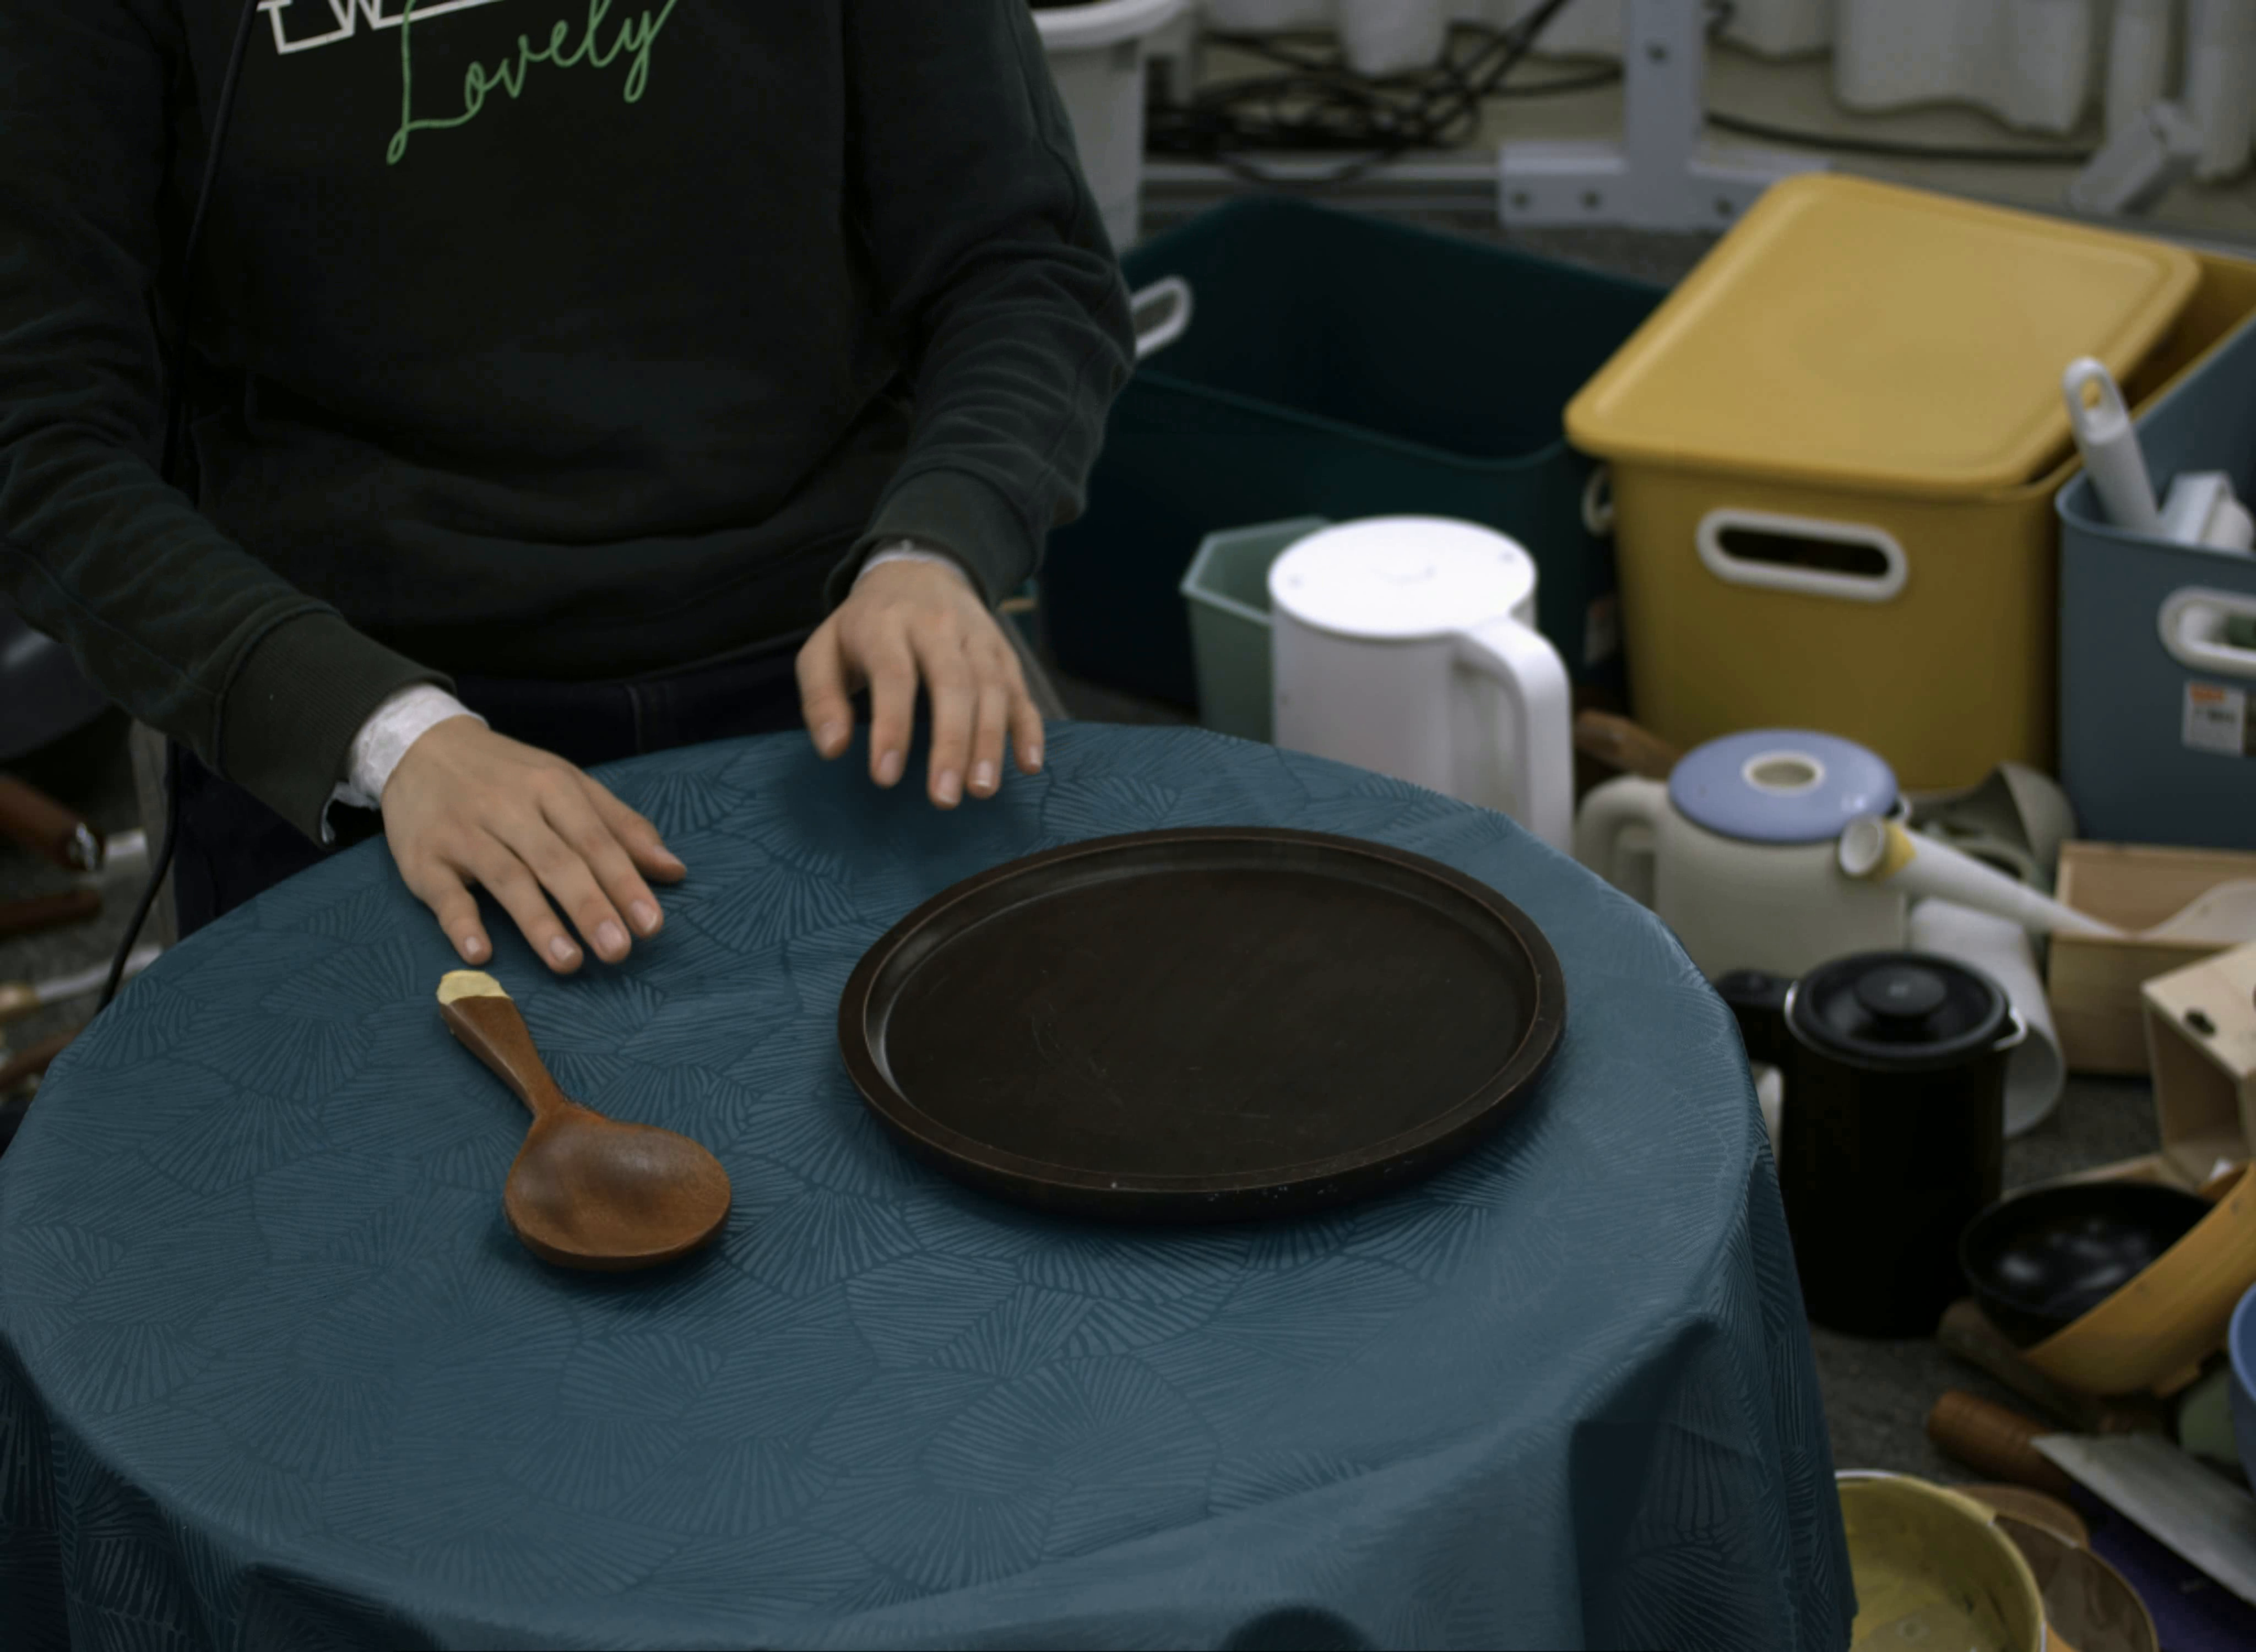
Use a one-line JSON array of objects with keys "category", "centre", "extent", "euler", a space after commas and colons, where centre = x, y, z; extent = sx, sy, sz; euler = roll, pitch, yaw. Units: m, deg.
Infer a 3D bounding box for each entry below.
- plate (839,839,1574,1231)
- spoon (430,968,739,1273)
[{"category": "plate", "centre": [0.027, 0.070, 1.936], "extent": [0.253, 0.029, 0.259], "euler": [-1, 28, 1]}, {"category": "spoon", "centre": [-0.193, 0.100, 1.904], "extent": [0.076, 0.017, 0.217], "euler": [-14, 30, -20]}]
